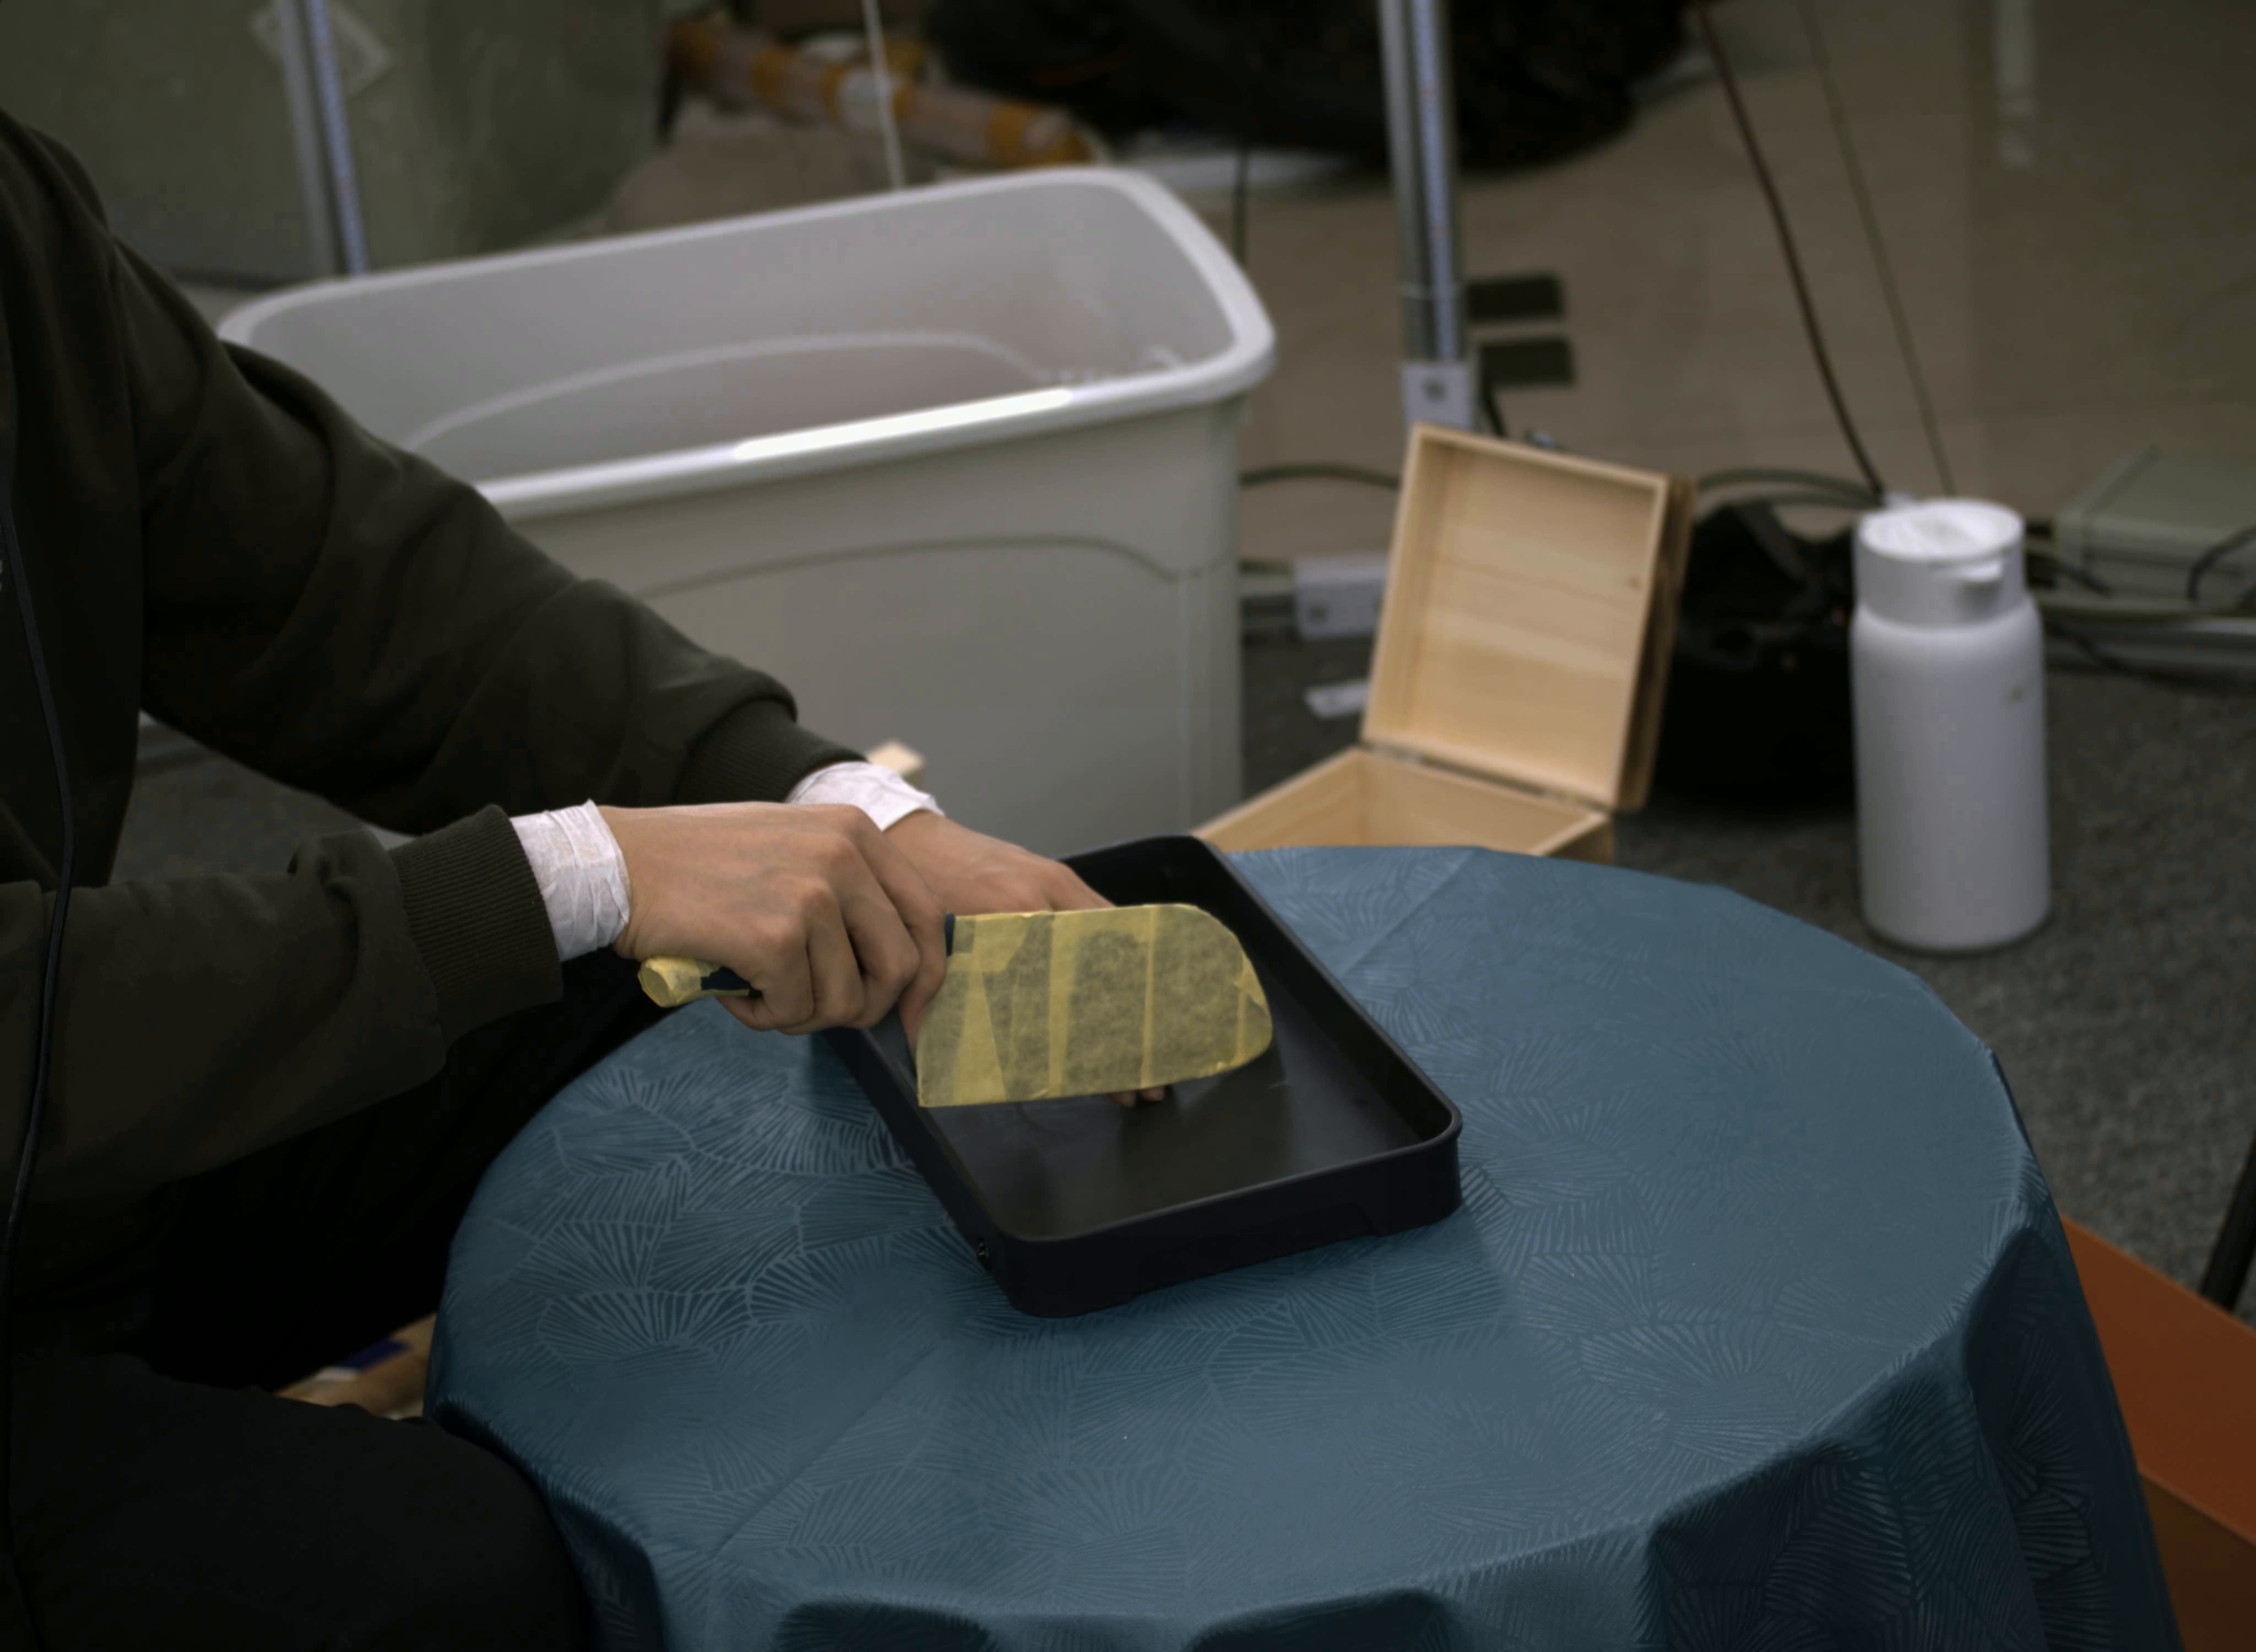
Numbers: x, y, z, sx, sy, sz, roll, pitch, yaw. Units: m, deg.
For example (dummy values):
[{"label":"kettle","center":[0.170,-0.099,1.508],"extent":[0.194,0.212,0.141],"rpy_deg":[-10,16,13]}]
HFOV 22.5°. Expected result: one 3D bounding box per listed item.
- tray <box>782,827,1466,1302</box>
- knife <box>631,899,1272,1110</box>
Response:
[{"label":"tray","center":[-0.007,0.088,2.217],"extent":[0.183,0.037,0.314],"rpy_deg":[-14,25,-16]},{"label":"knife","center":[-0.061,0.067,2.145],"extent":[0.289,0.081,0.027],"rpy_deg":[1,5,-35]}]
